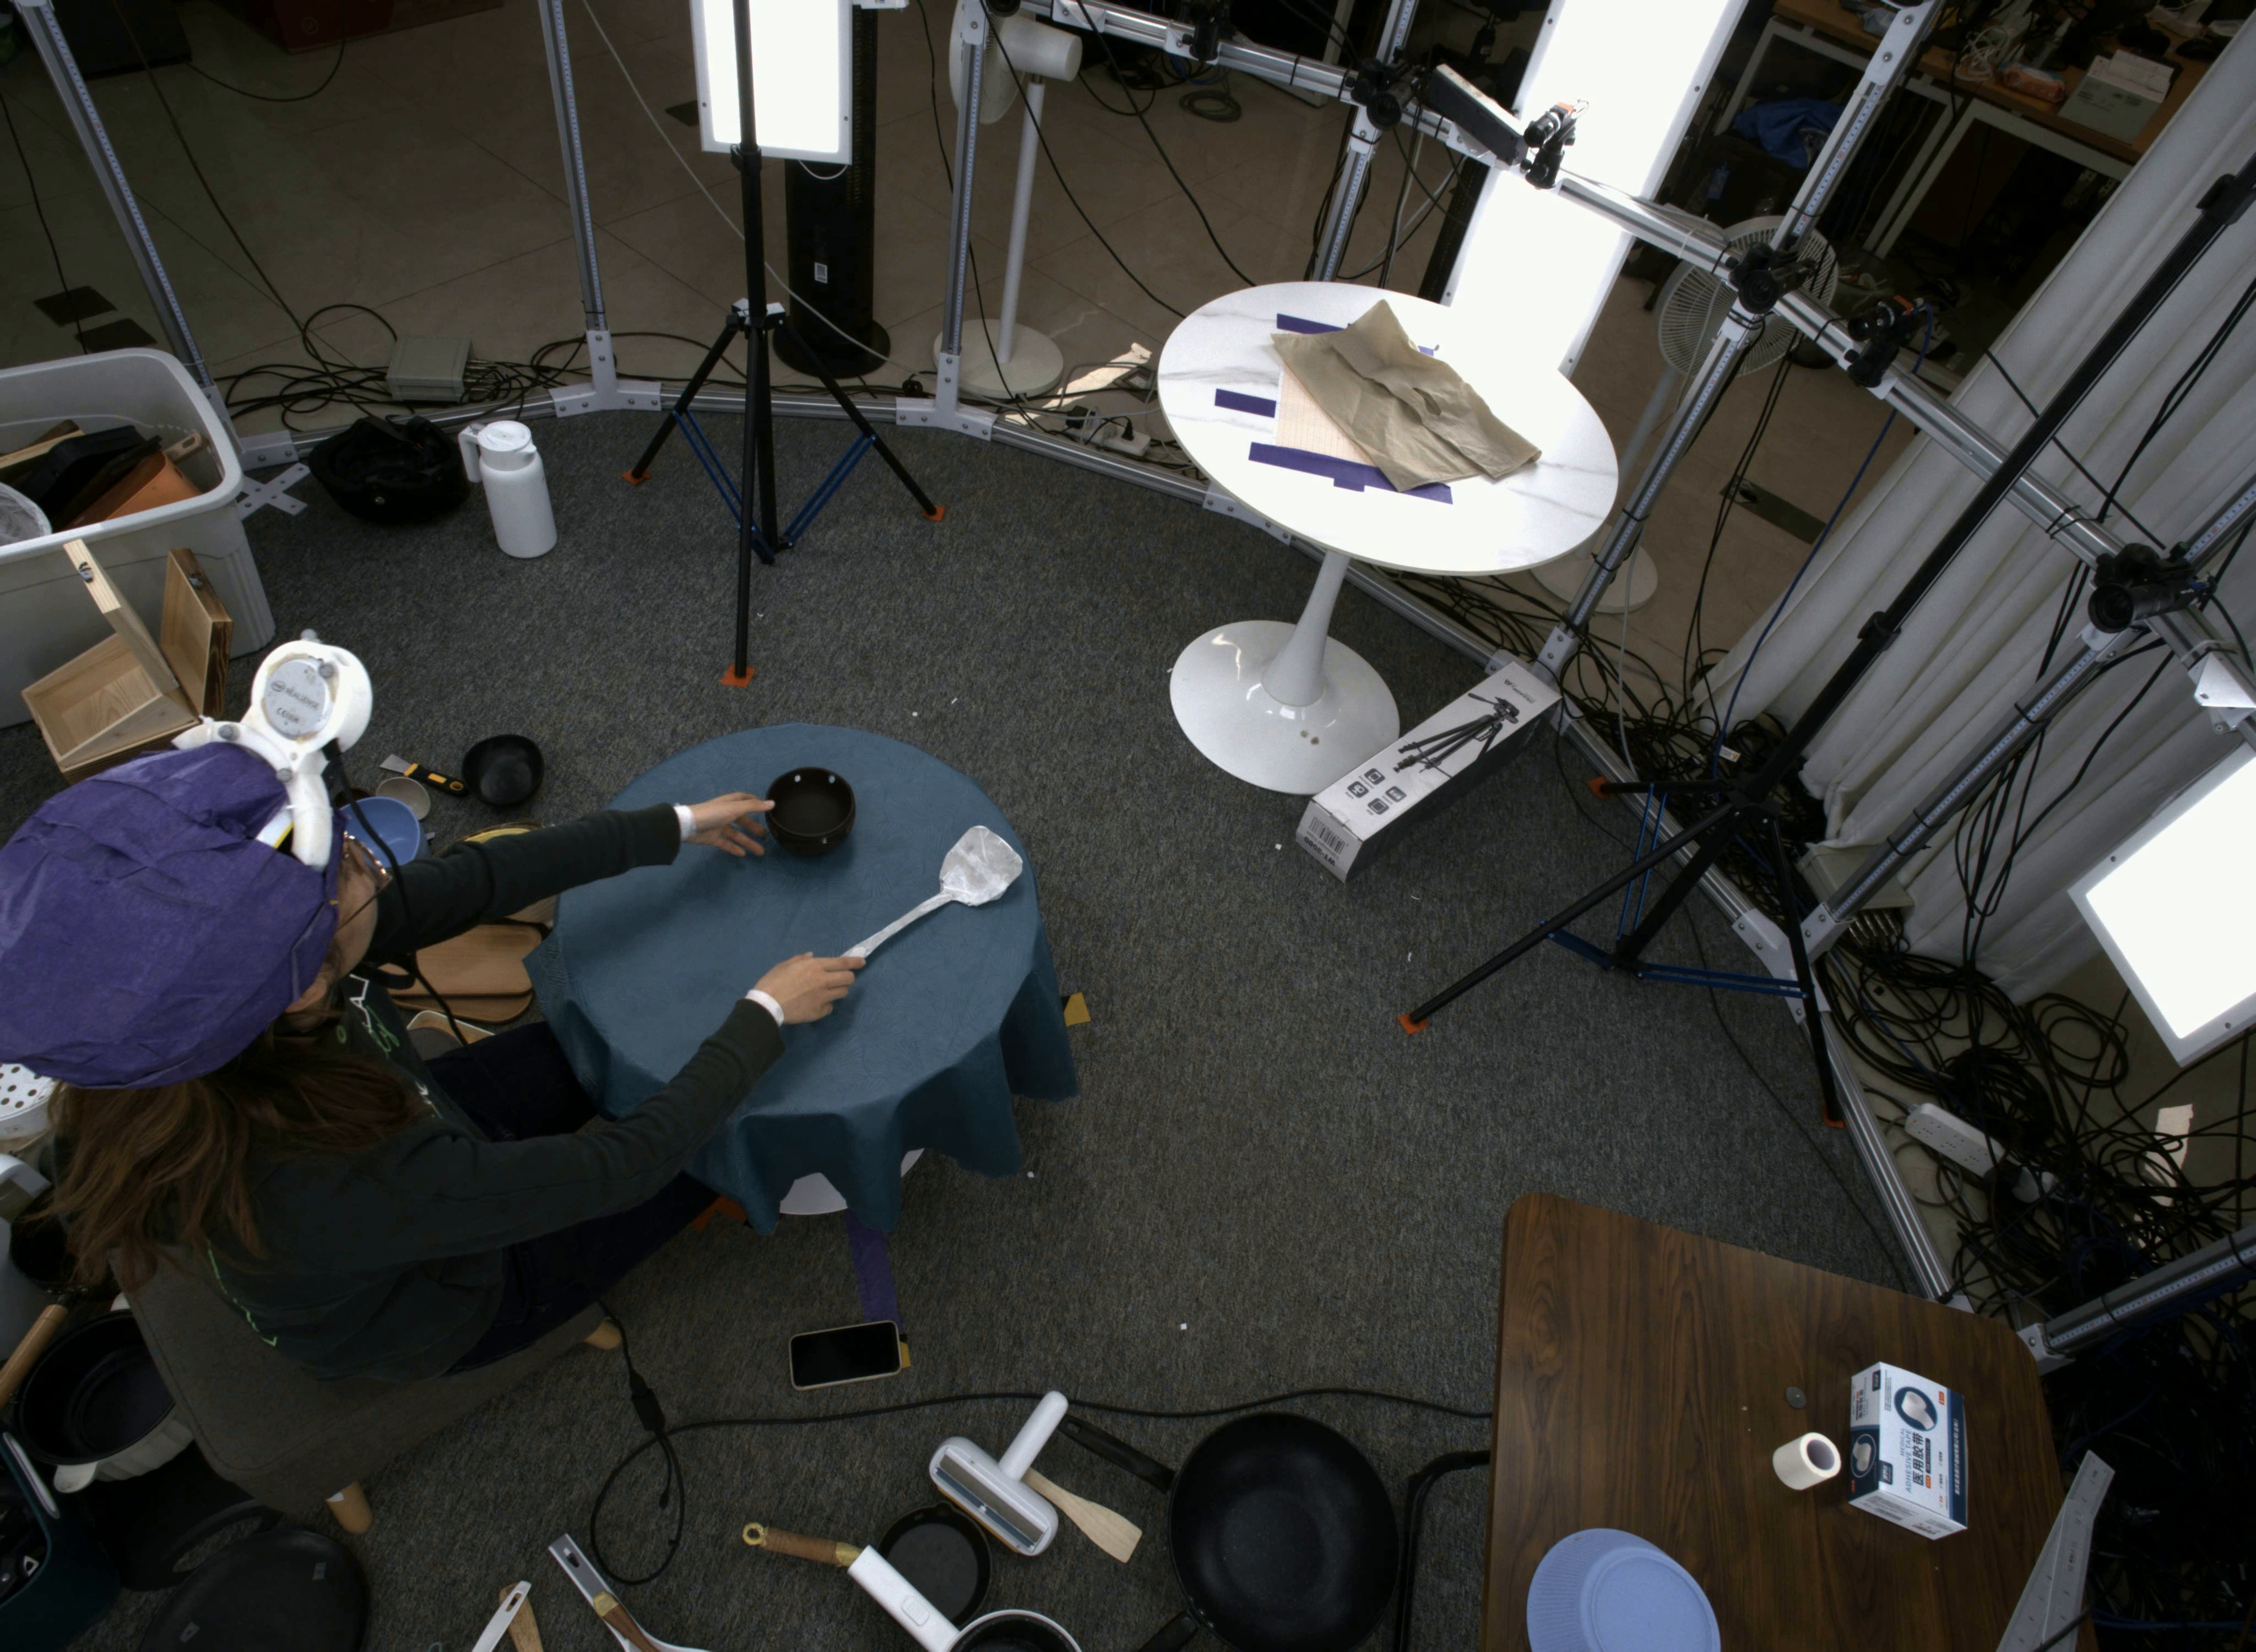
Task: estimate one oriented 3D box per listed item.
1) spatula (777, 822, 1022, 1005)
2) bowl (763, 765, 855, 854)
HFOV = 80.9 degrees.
[{"bbox_3d":[-0.291,0.117,1.651,0.097,0.045,0.366,43,55,16],"label":"spatula"},{"bbox_3d":[-0.415,-0.014,1.695,0.117,0.071,0.116,6,52,-6],"label":"bowl"}]
